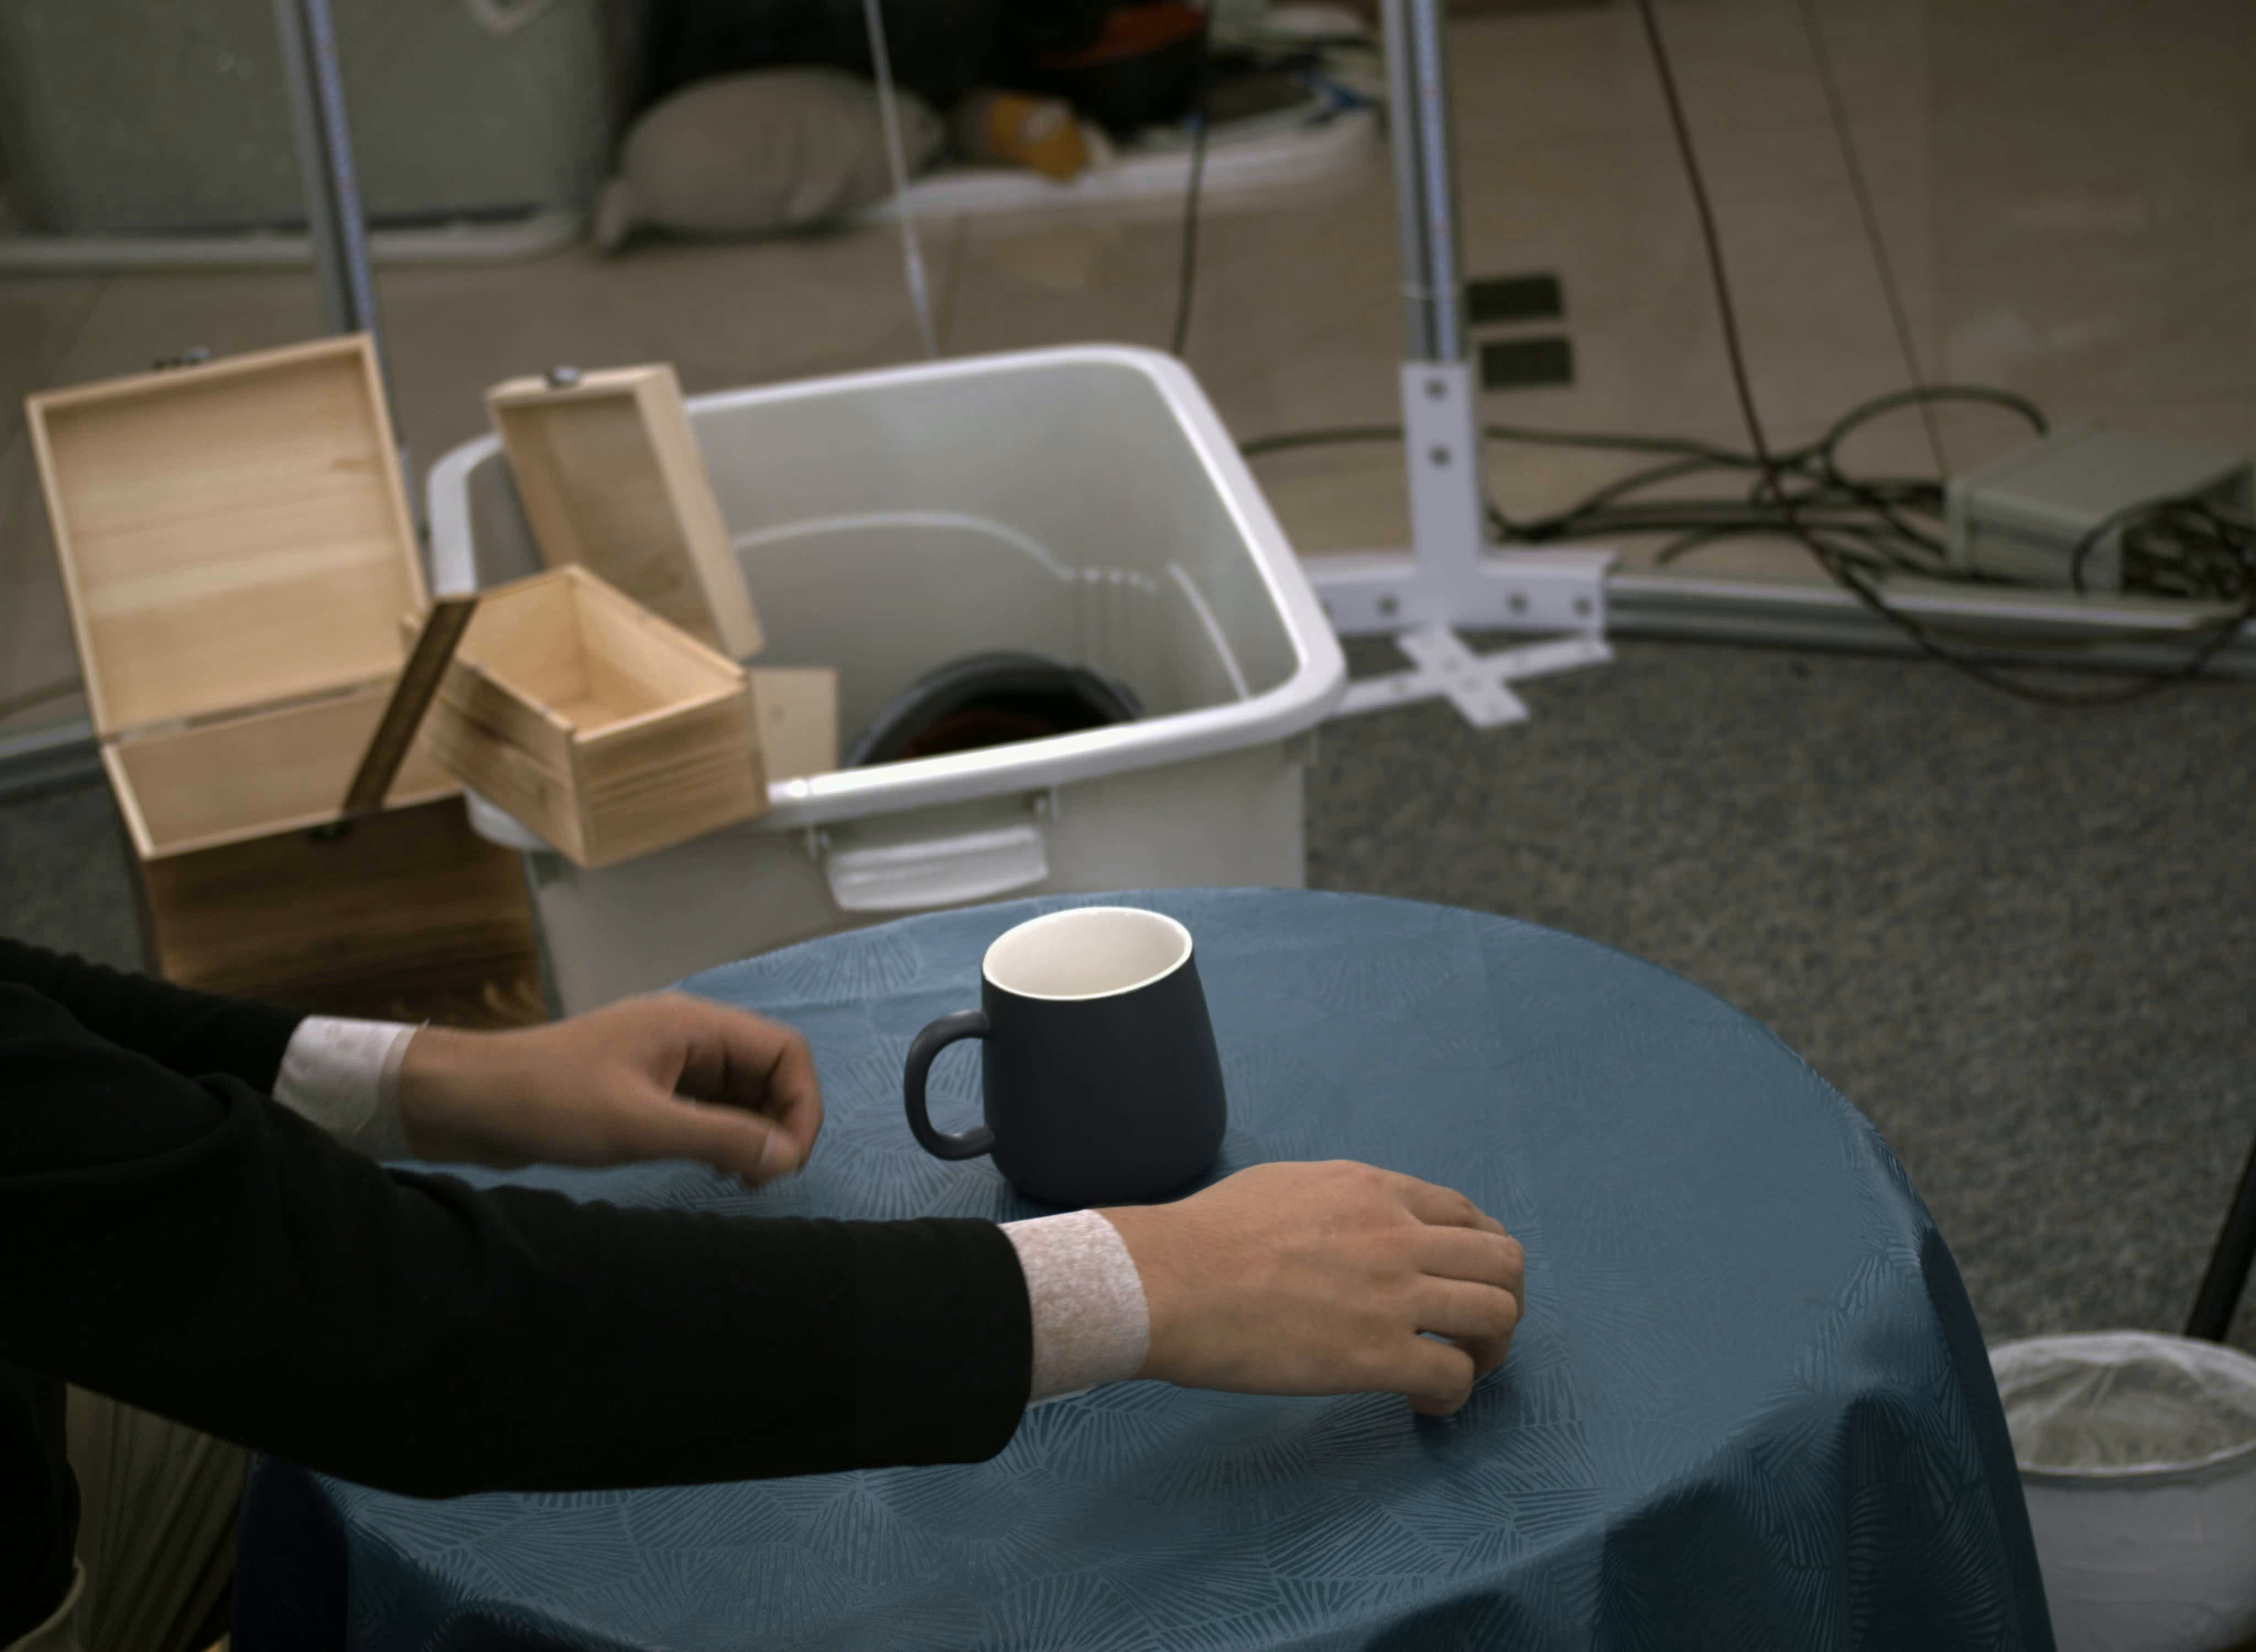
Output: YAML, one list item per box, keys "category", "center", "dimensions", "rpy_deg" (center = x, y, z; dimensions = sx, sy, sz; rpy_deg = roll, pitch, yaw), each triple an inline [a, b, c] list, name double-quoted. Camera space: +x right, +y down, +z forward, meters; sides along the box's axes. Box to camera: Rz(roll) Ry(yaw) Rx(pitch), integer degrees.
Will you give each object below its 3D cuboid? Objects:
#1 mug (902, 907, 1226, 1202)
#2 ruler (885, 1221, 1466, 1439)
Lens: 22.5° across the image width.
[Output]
- category: "mug"
  center: [-0.026, 0.089, 2.149]
  dimensions: [0.123, 0.091, 0.092]
  rpy_deg: [-11, 25, -12]
- category: "ruler"
  center: [0.016, 0.175, 2.040]
  dimensions: [0.217, 0.024, 0.038]
  rpy_deg: [-16, 33, -16]
